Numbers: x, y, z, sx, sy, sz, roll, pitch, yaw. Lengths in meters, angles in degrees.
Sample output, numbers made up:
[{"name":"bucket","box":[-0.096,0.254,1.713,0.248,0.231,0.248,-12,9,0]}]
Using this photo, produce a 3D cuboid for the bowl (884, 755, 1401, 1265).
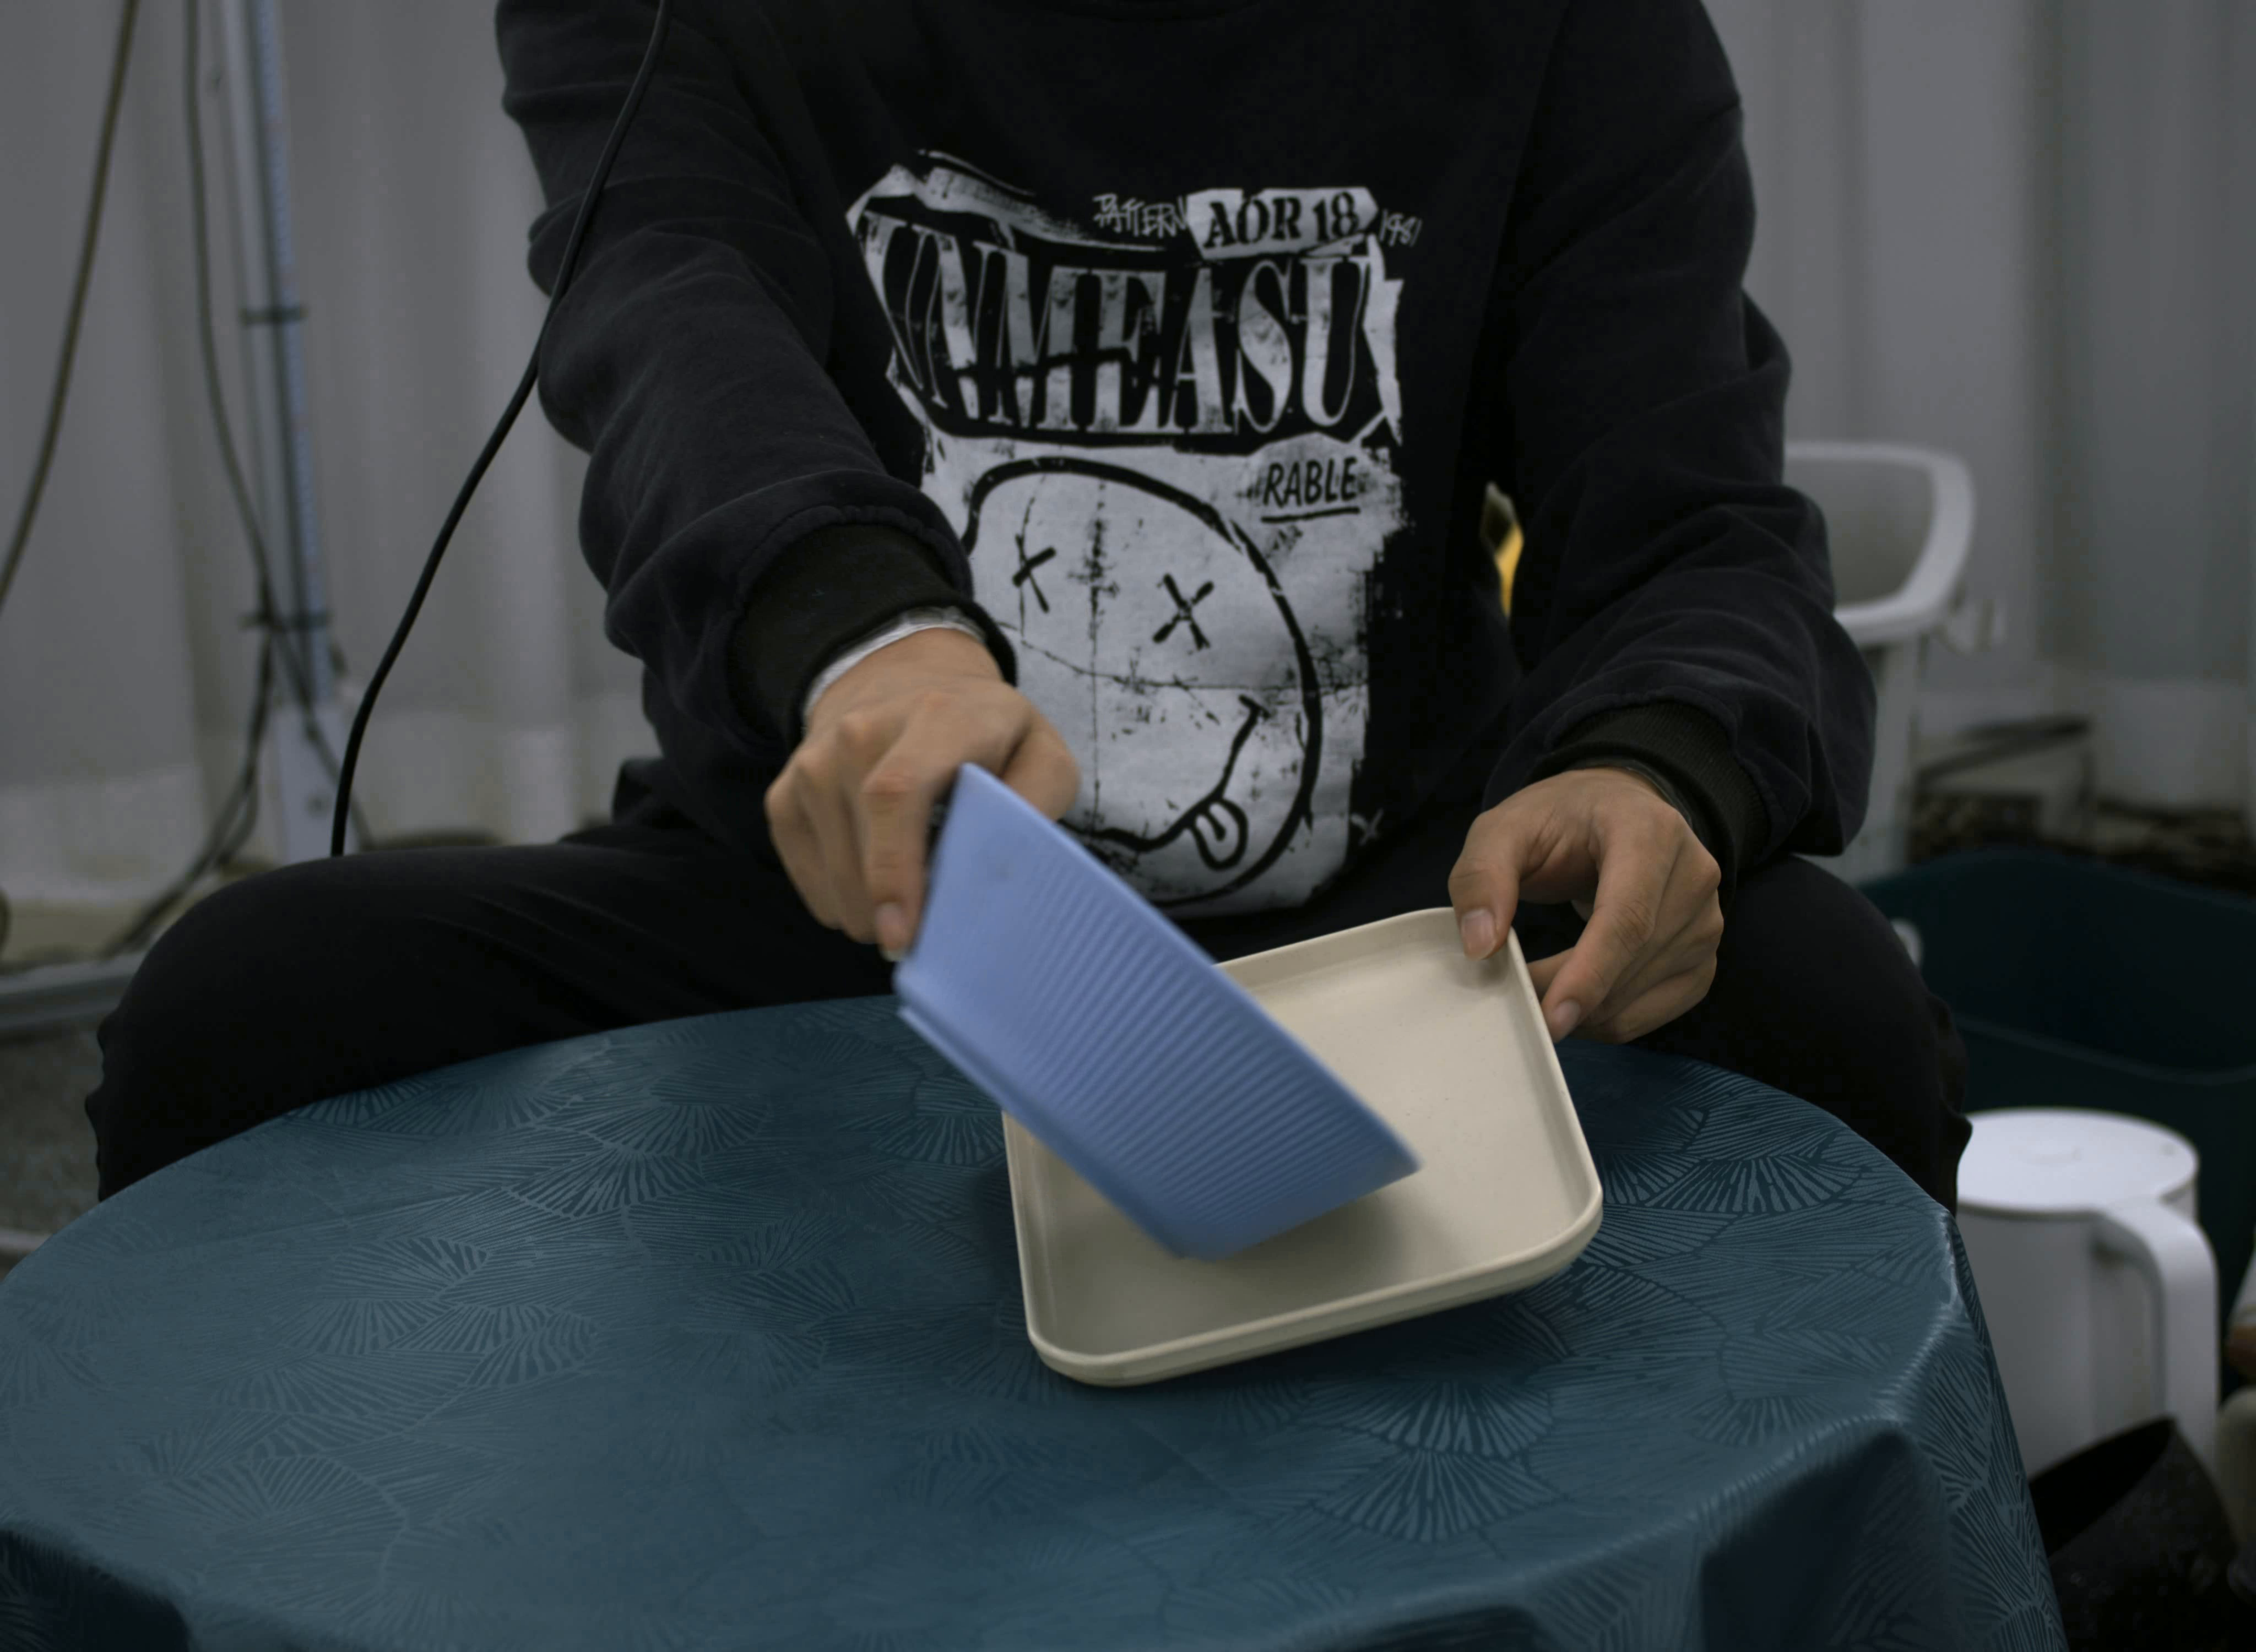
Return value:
[{"name":"bowl","box":[-0.007,0.063,1.567,0.070,0.174,0.177,-47,23,-3]}]

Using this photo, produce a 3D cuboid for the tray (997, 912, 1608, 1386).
[{"name":"tray","box":[0.049,0.095,1.642,0.171,0.017,0.242,-14,23,1]}]
